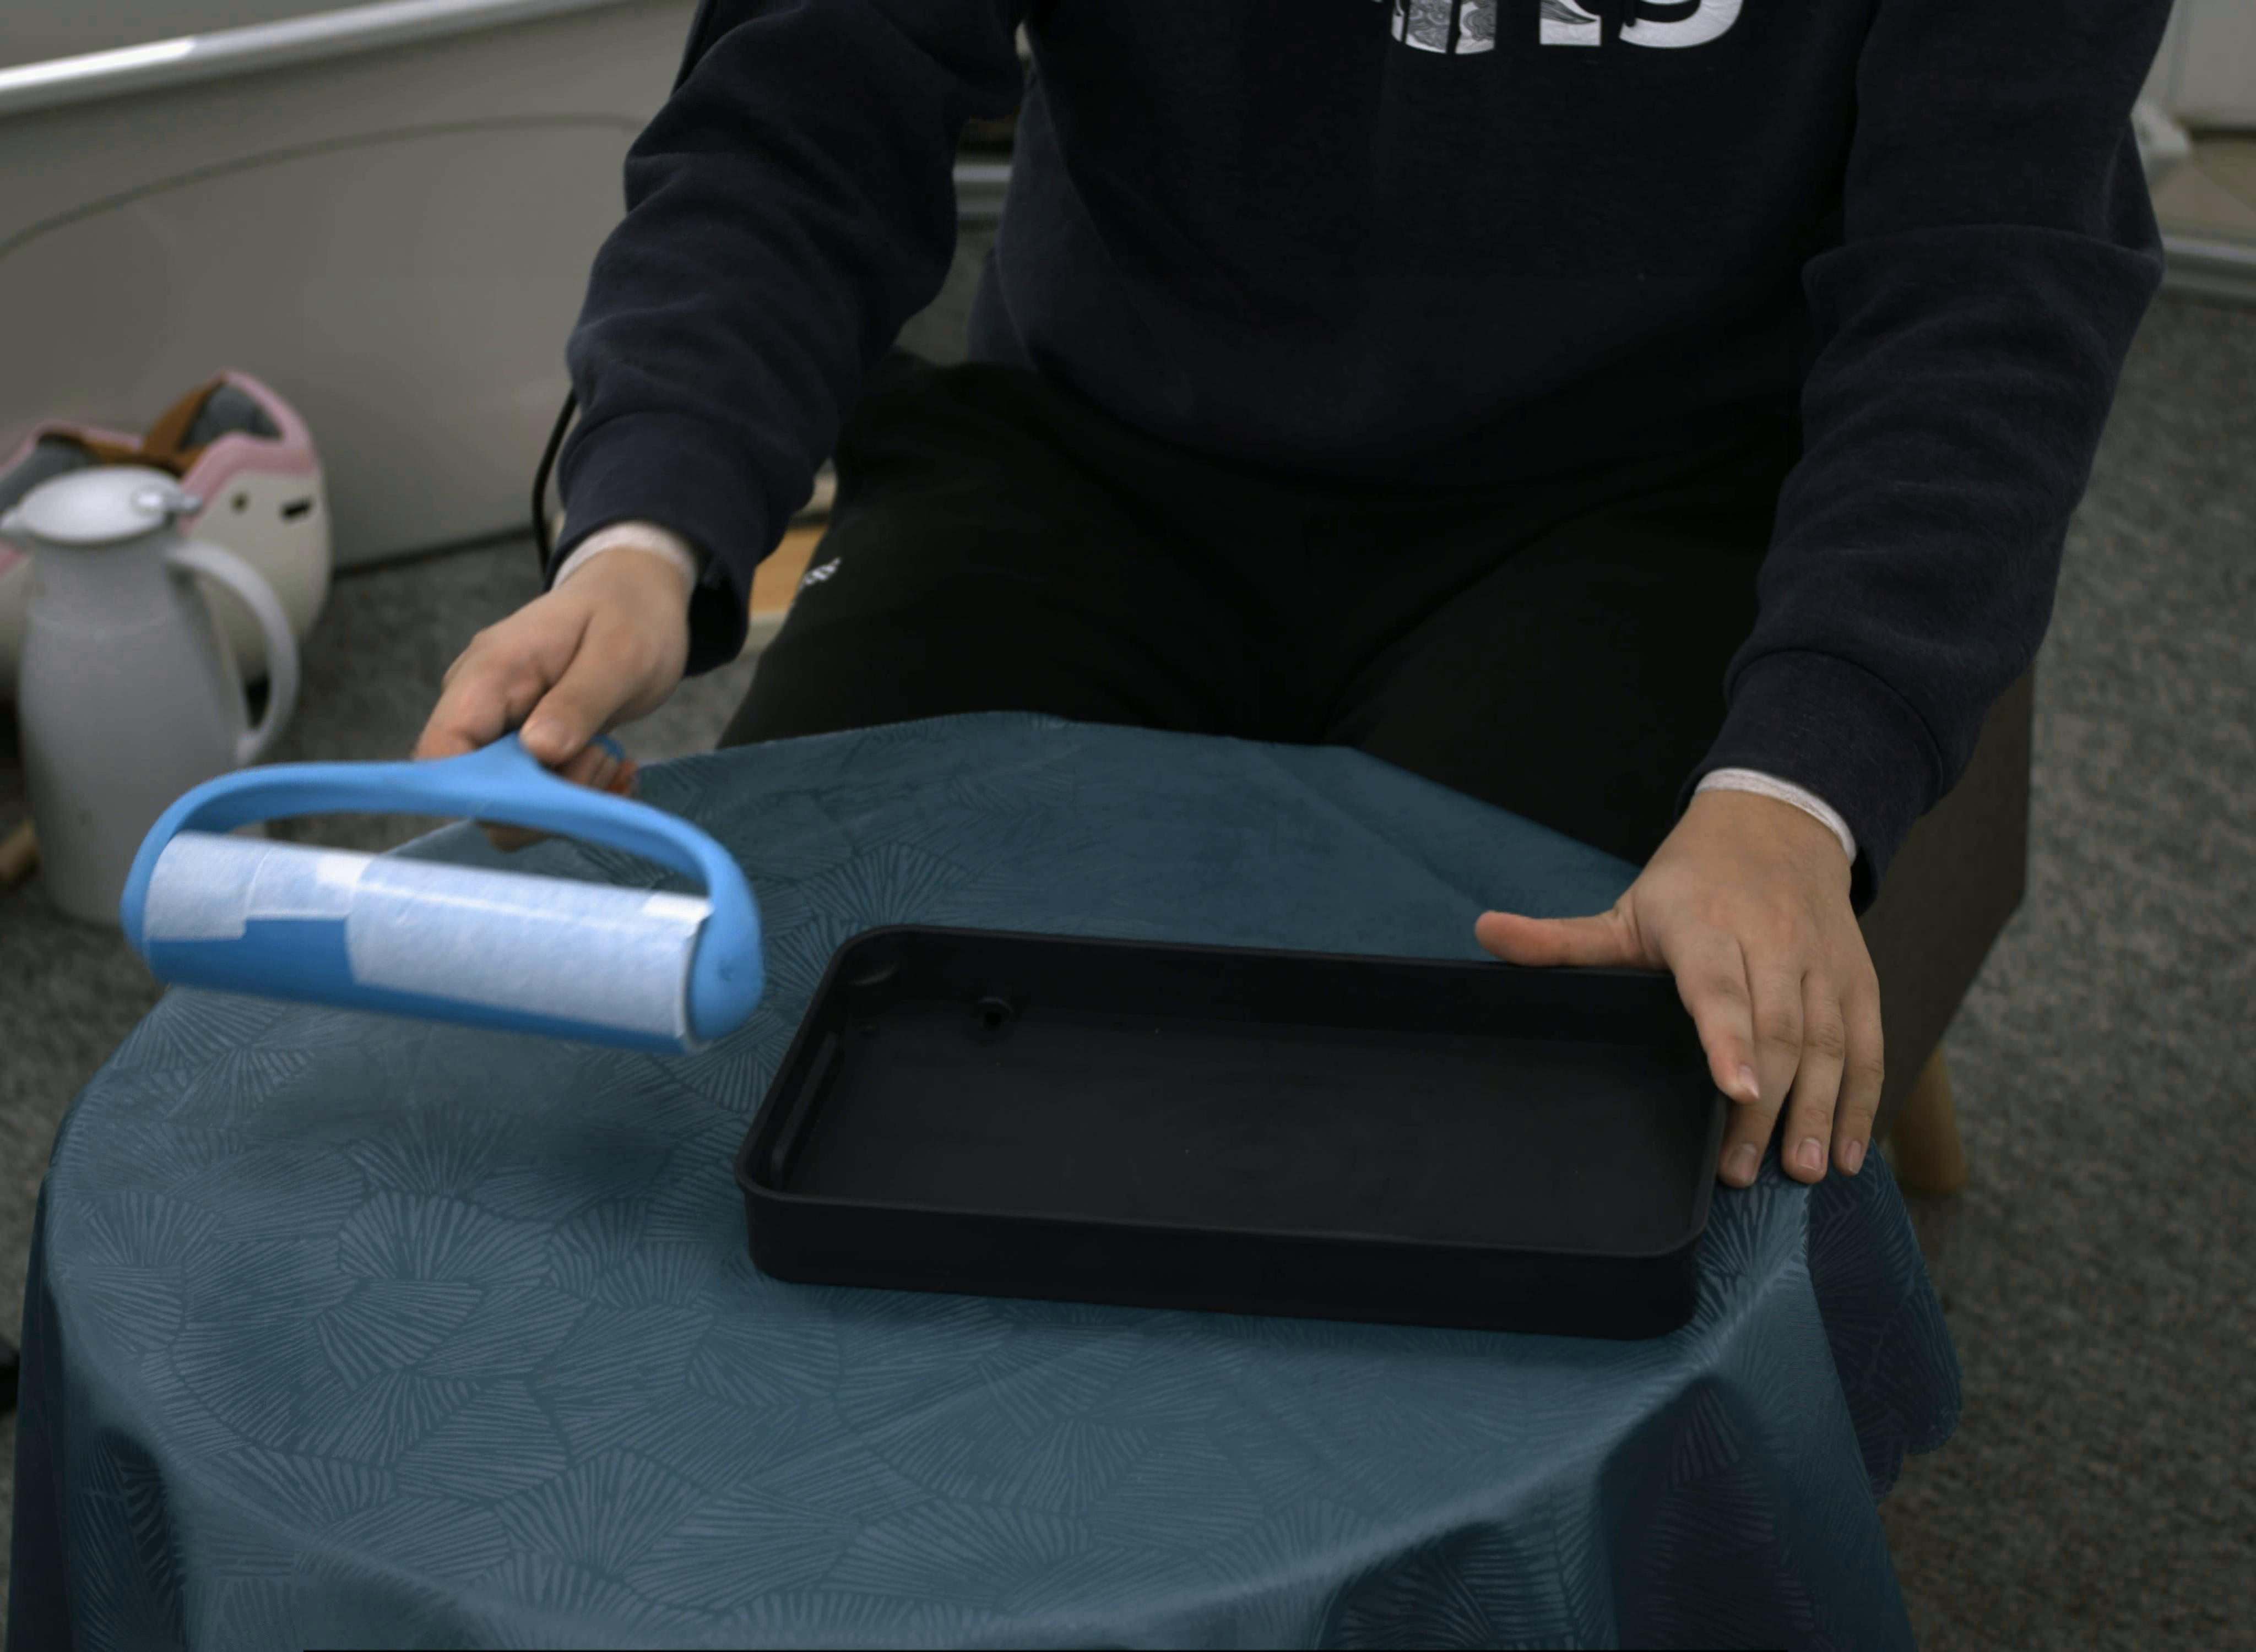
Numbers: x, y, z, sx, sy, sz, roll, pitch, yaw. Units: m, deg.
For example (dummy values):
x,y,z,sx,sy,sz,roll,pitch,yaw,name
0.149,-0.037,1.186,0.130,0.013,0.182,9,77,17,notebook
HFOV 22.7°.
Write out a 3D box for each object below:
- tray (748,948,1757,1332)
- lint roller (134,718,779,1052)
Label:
x,y,z,sx,sy,sz,roll,pitch,yaw,name
0.045,0.102,1.867,0.316,0.036,0.187,0,27,11,tray
-0.213,0.001,1.936,0.227,0.067,0.184,4,37,13,lint roller
